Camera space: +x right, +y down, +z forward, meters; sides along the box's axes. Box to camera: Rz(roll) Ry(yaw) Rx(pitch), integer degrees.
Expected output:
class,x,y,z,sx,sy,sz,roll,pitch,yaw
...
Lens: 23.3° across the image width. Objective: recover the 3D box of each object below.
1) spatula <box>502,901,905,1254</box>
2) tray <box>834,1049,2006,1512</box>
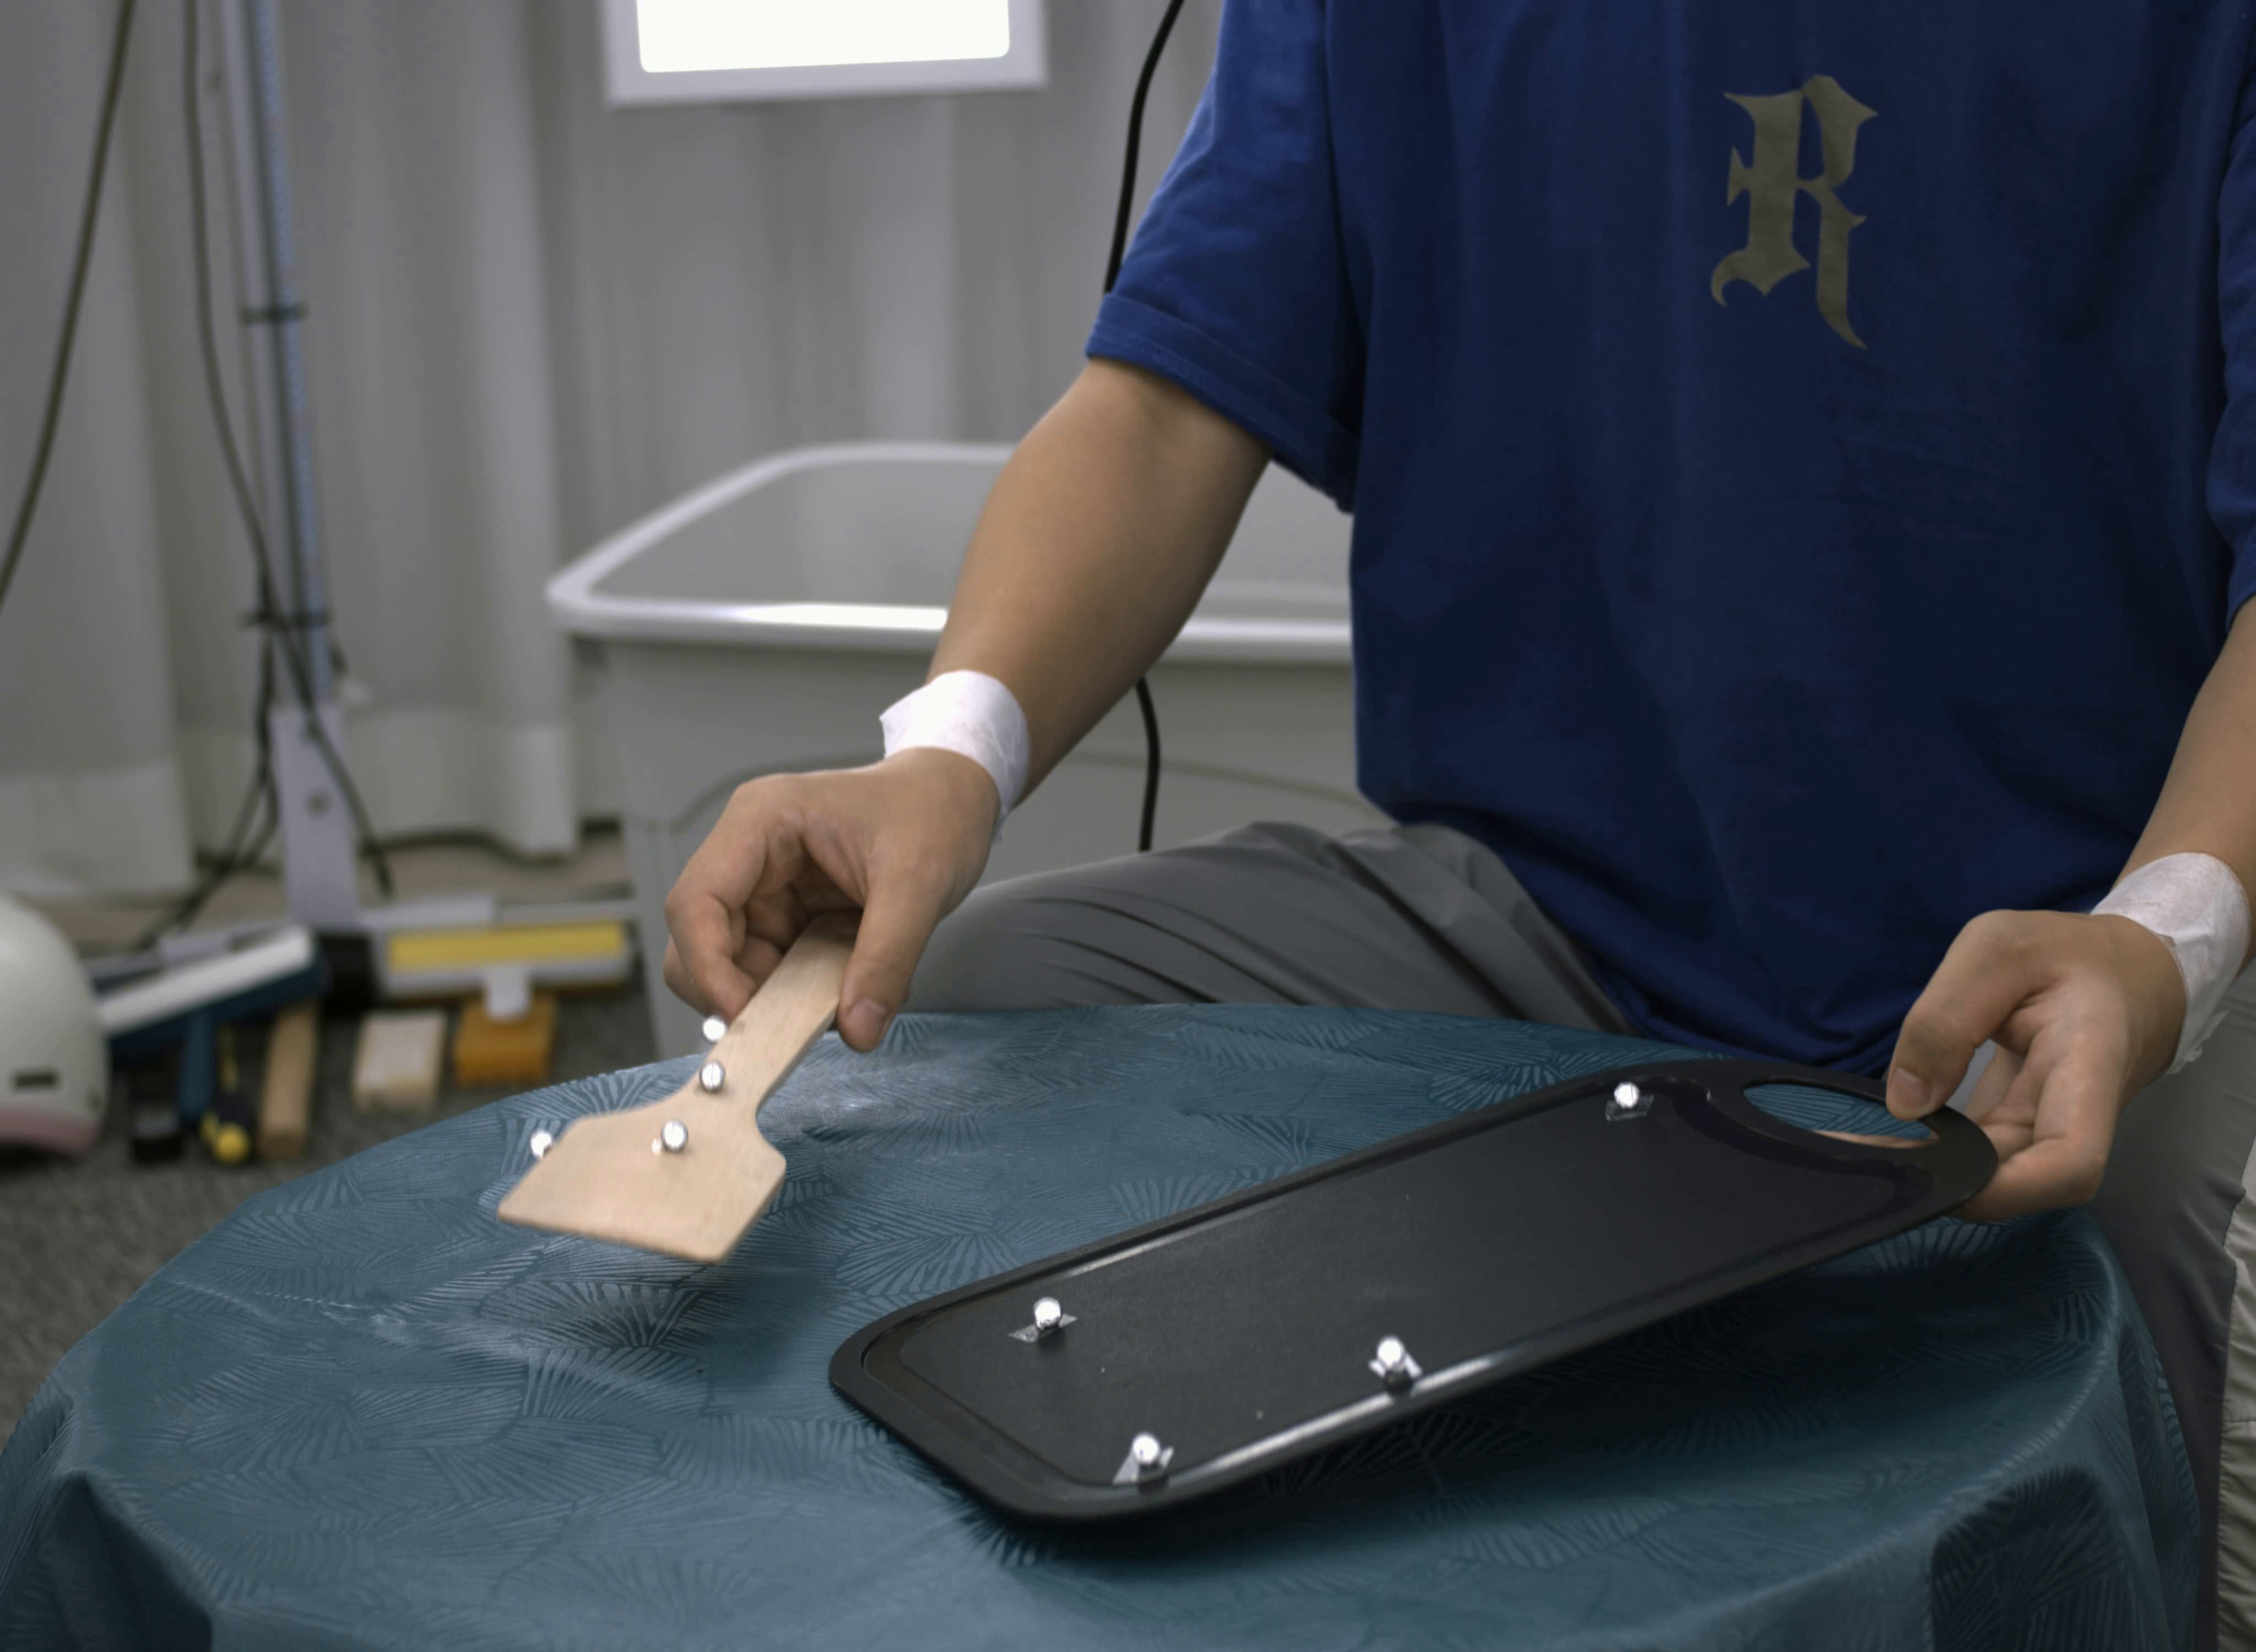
class,x,y,z,sx,sy,sz,roll,pitch,yaw
spatula,-0.120,0.074,1.717,0.072,0.010,0.295,10,20,10
tray,0.086,0.120,1.550,0.324,0.010,0.212,-18,15,-20
